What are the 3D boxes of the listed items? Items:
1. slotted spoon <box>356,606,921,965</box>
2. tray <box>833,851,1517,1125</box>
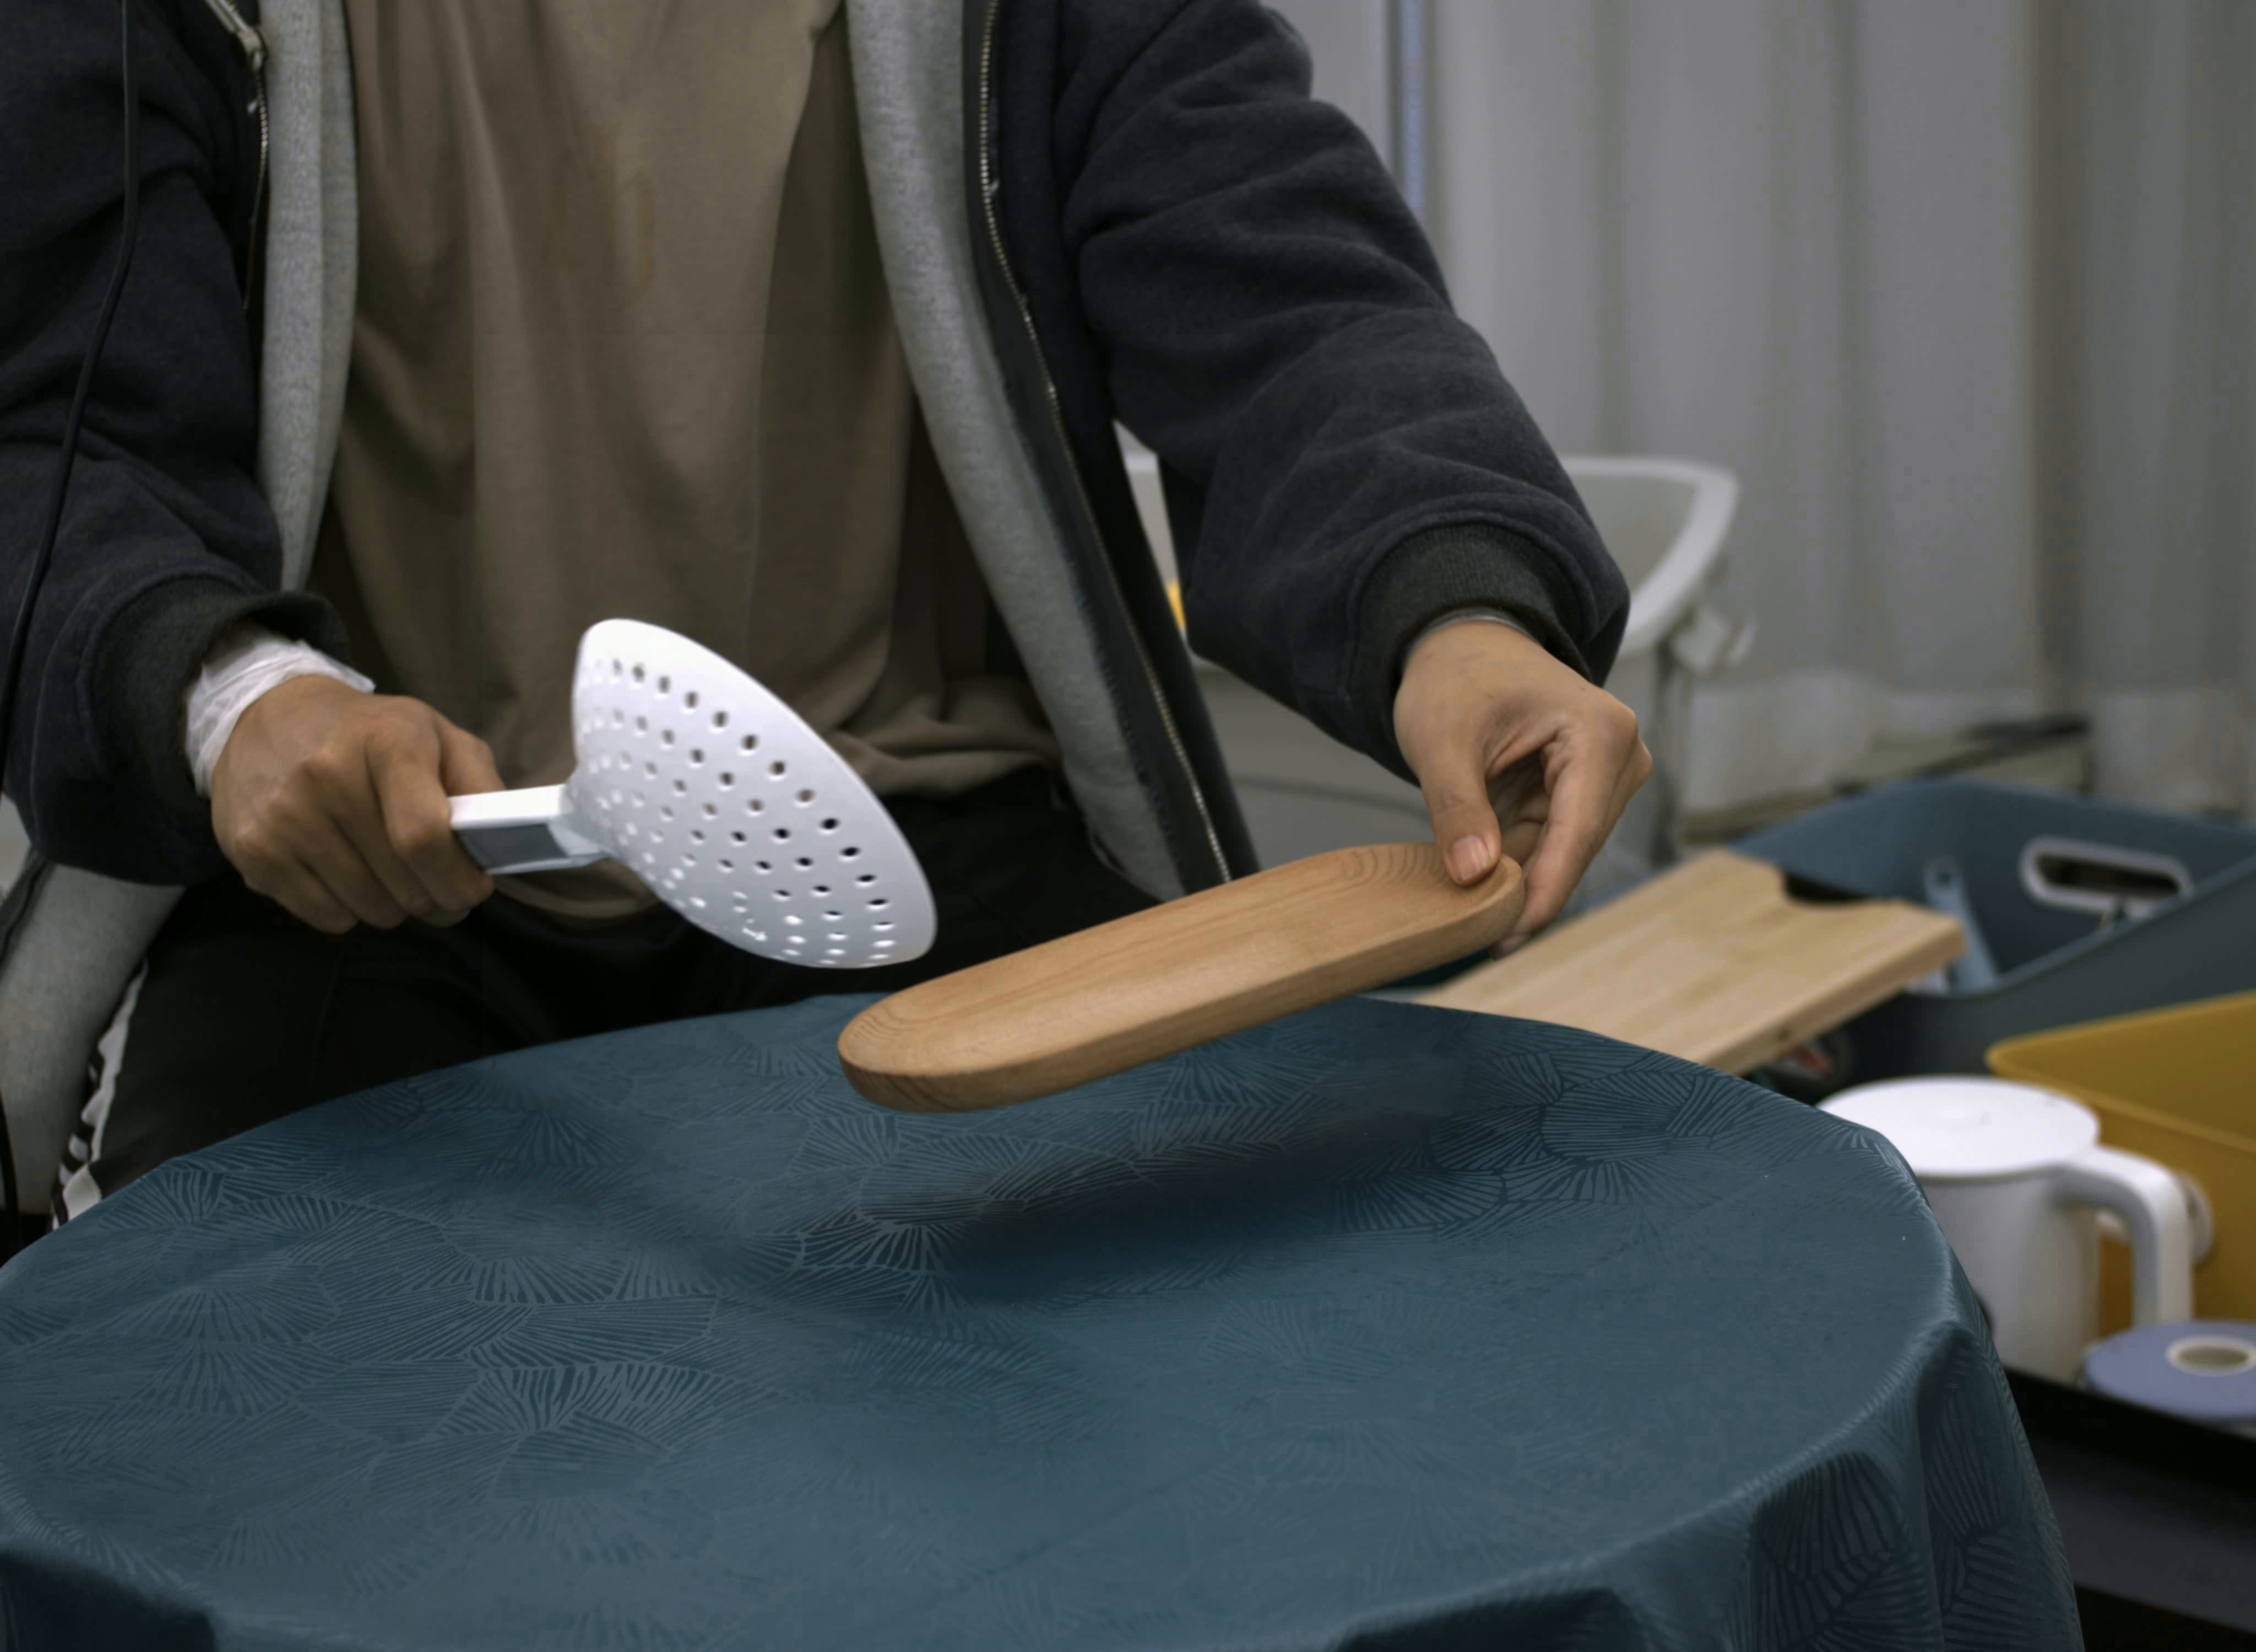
[{"bbox_3d":[-0.168,-0.002,1.697,0.046,0.135,0.350,-44,17,-18],"label":"slotted spoon"},{"bbox_3d":[0.017,0.050,1.703,0.231,0.020,0.102,-19,18,-24],"label":"tray"}]
